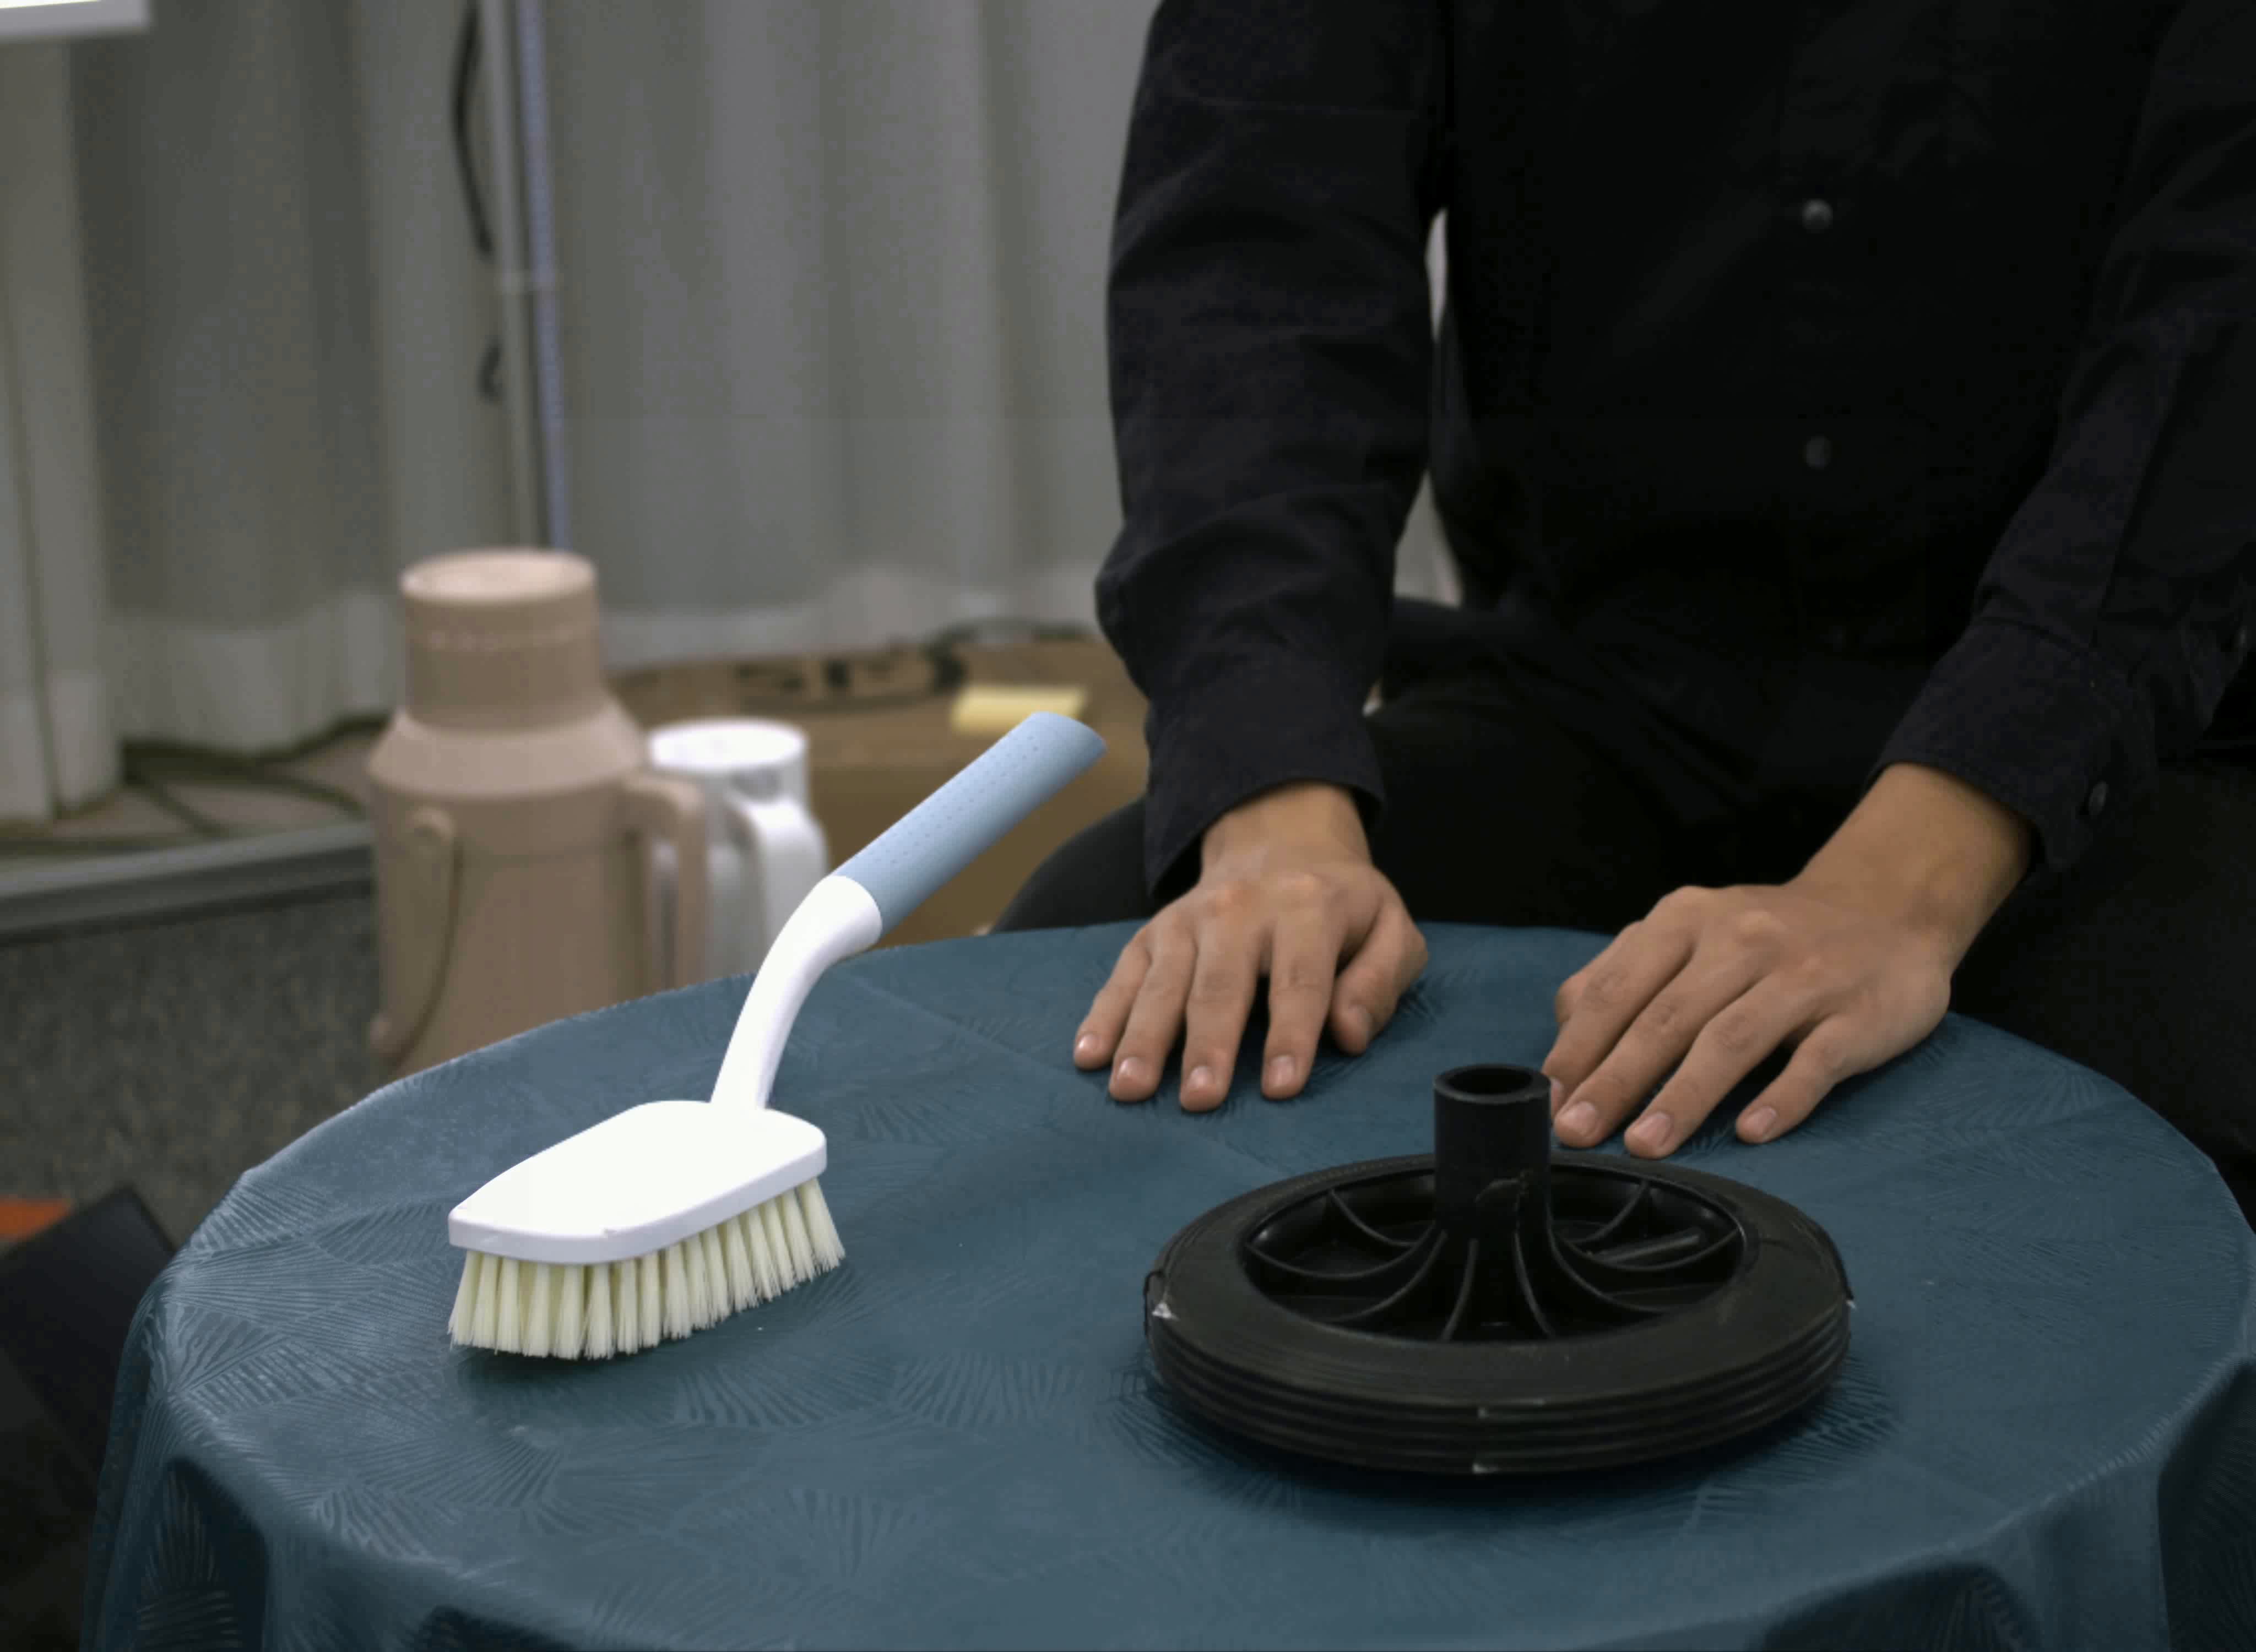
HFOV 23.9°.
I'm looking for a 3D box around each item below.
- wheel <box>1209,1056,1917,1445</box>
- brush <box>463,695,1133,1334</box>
[{"bbox_3d":[0.115,0.104,1.409,0.183,0.079,0.194,-11,16,-26],"label":"wheel"},{"bbox_3d":[-0.082,0.069,1.565,0.084,0.085,0.321,40,43,10],"label":"brush"}]
